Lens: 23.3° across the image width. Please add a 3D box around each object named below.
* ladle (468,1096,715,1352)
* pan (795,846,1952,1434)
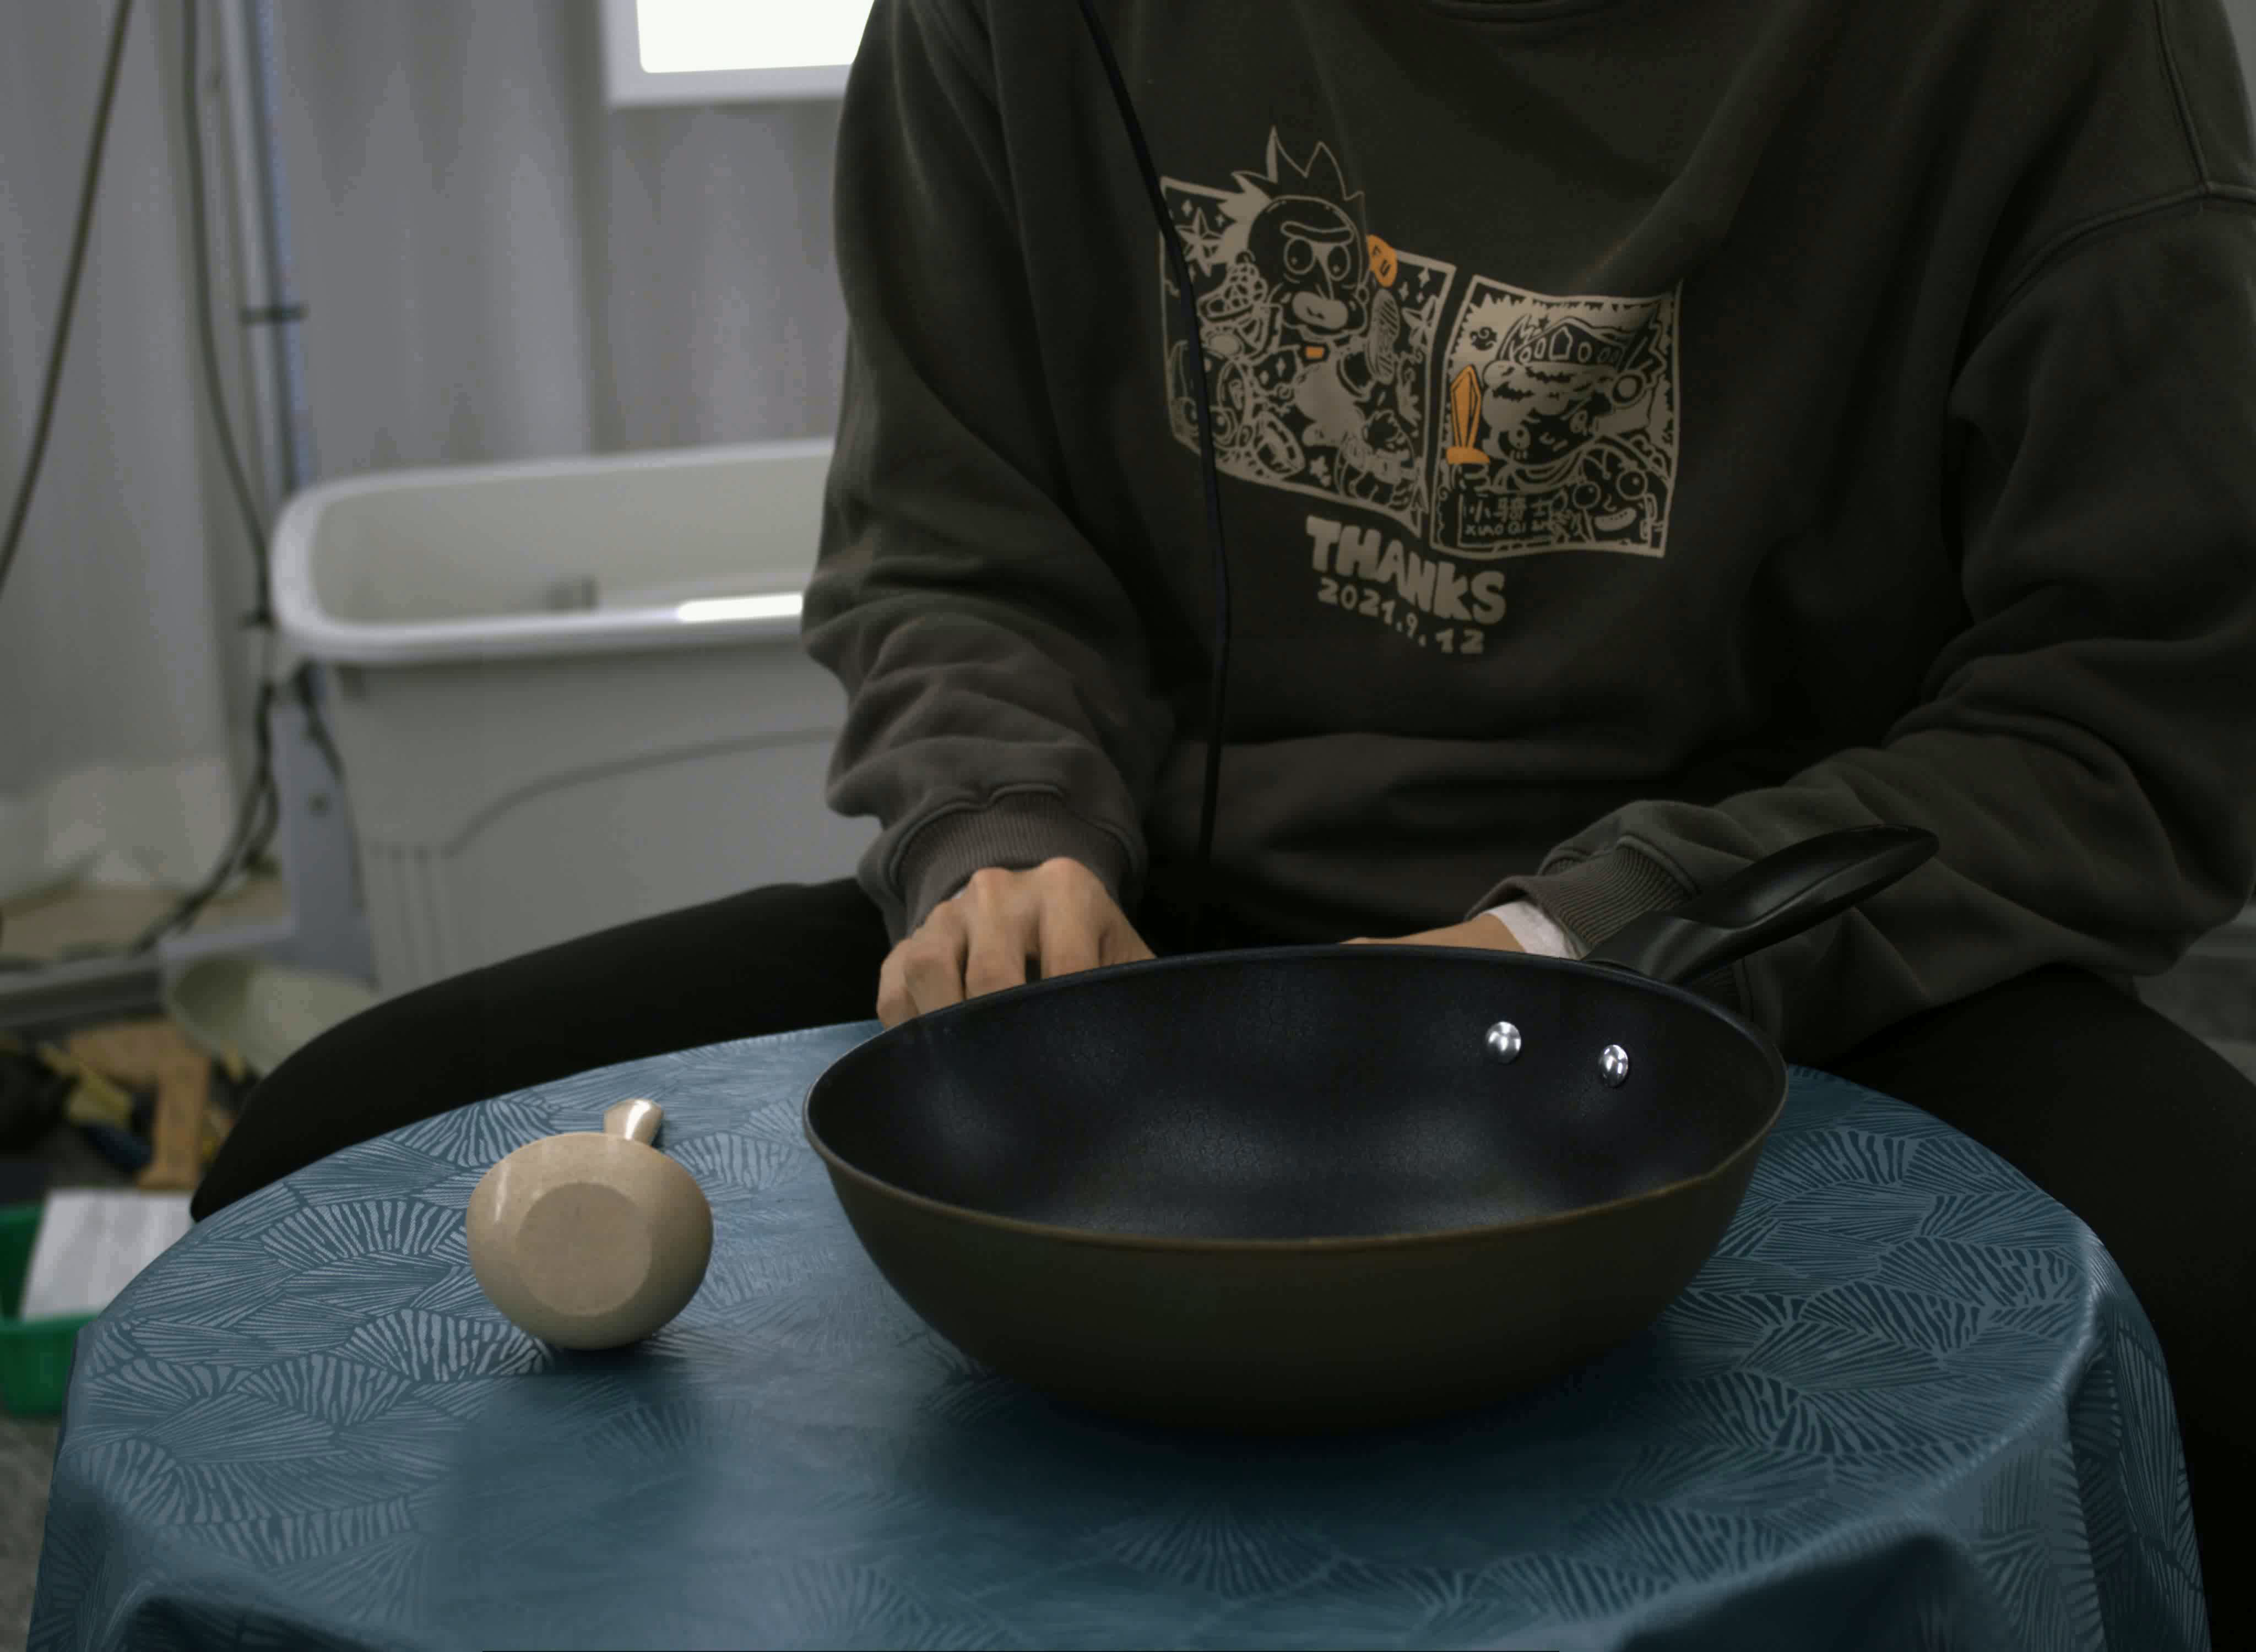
[{"bbox_3d":[-0.165,0.093,1.695,0.072,0.072,0.256,-9,16,-3],"label":"ladle"},{"bbox_3d":[0.105,0.090,1.635,0.289,0.086,0.462,9,18,40],"label":"pan"}]
